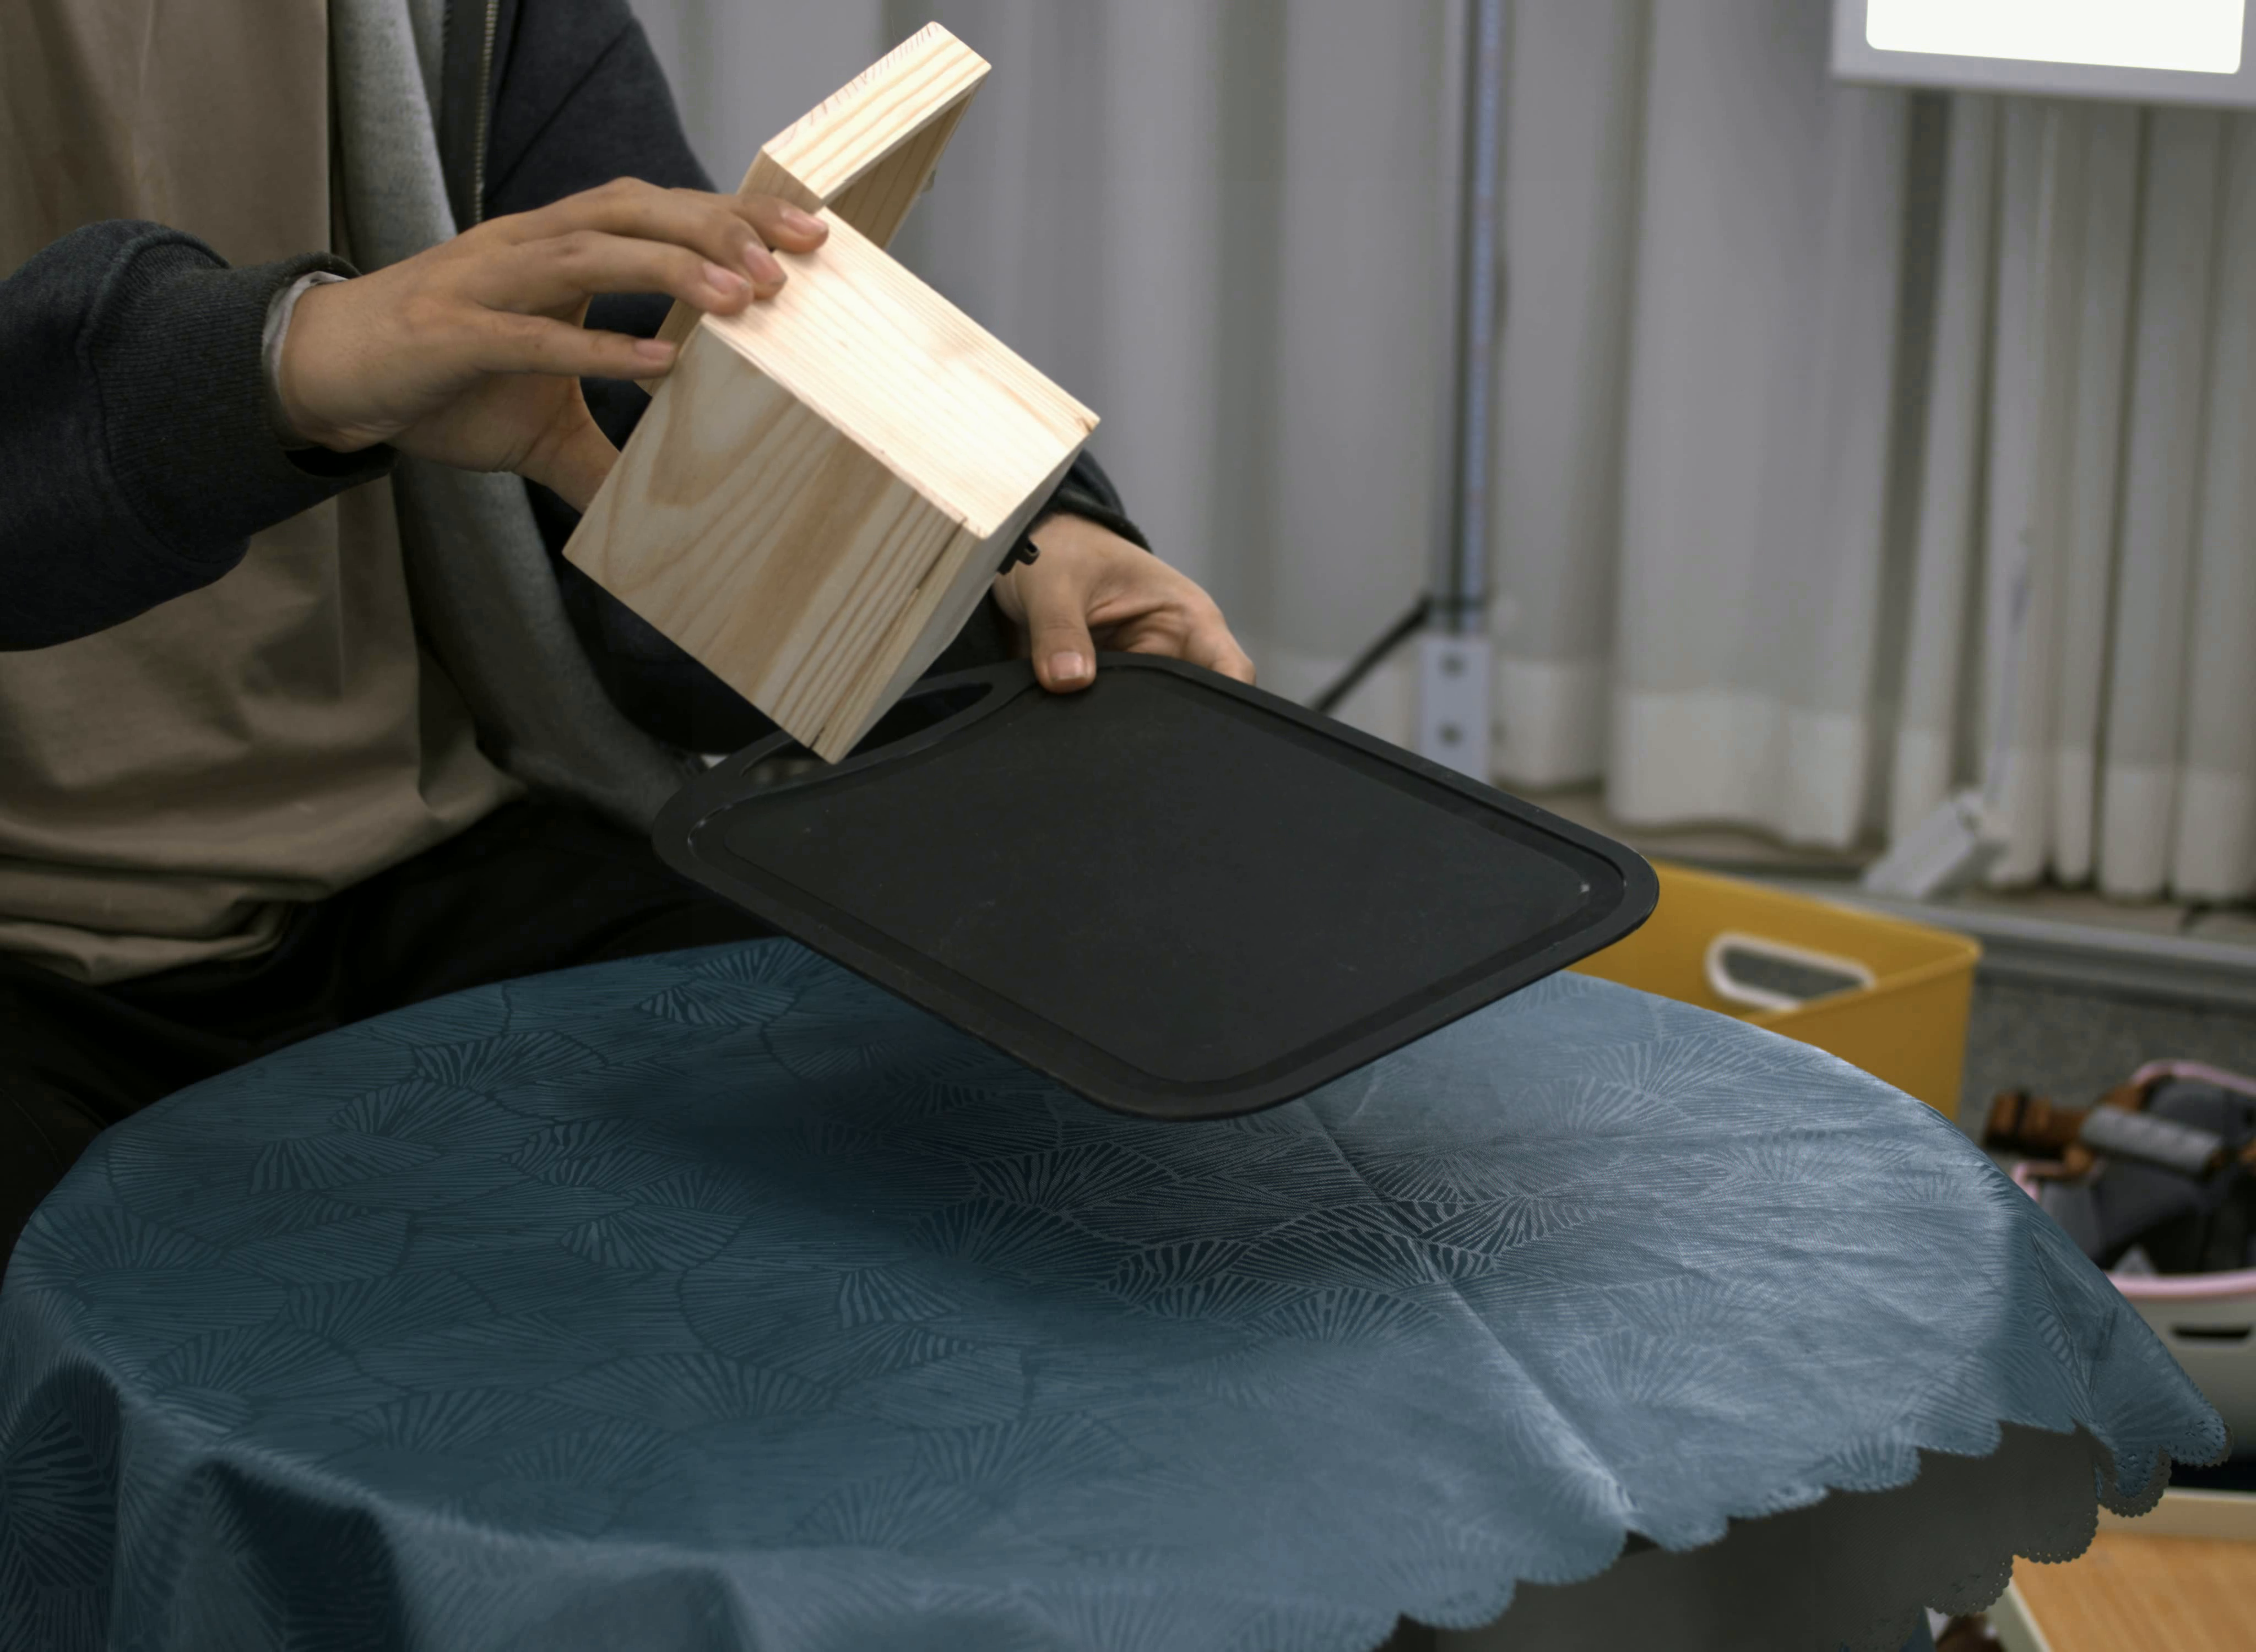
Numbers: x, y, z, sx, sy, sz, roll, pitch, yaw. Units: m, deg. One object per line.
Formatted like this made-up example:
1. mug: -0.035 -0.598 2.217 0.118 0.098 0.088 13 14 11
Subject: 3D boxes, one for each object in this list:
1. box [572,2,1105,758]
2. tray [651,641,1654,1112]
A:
1. box: -0.069 -0.132 1.536 0.134 0.103 0.184 37 42 0
2. tray: -0.003 0.007 1.652 0.211 0.010 0.321 -23 31 -31
